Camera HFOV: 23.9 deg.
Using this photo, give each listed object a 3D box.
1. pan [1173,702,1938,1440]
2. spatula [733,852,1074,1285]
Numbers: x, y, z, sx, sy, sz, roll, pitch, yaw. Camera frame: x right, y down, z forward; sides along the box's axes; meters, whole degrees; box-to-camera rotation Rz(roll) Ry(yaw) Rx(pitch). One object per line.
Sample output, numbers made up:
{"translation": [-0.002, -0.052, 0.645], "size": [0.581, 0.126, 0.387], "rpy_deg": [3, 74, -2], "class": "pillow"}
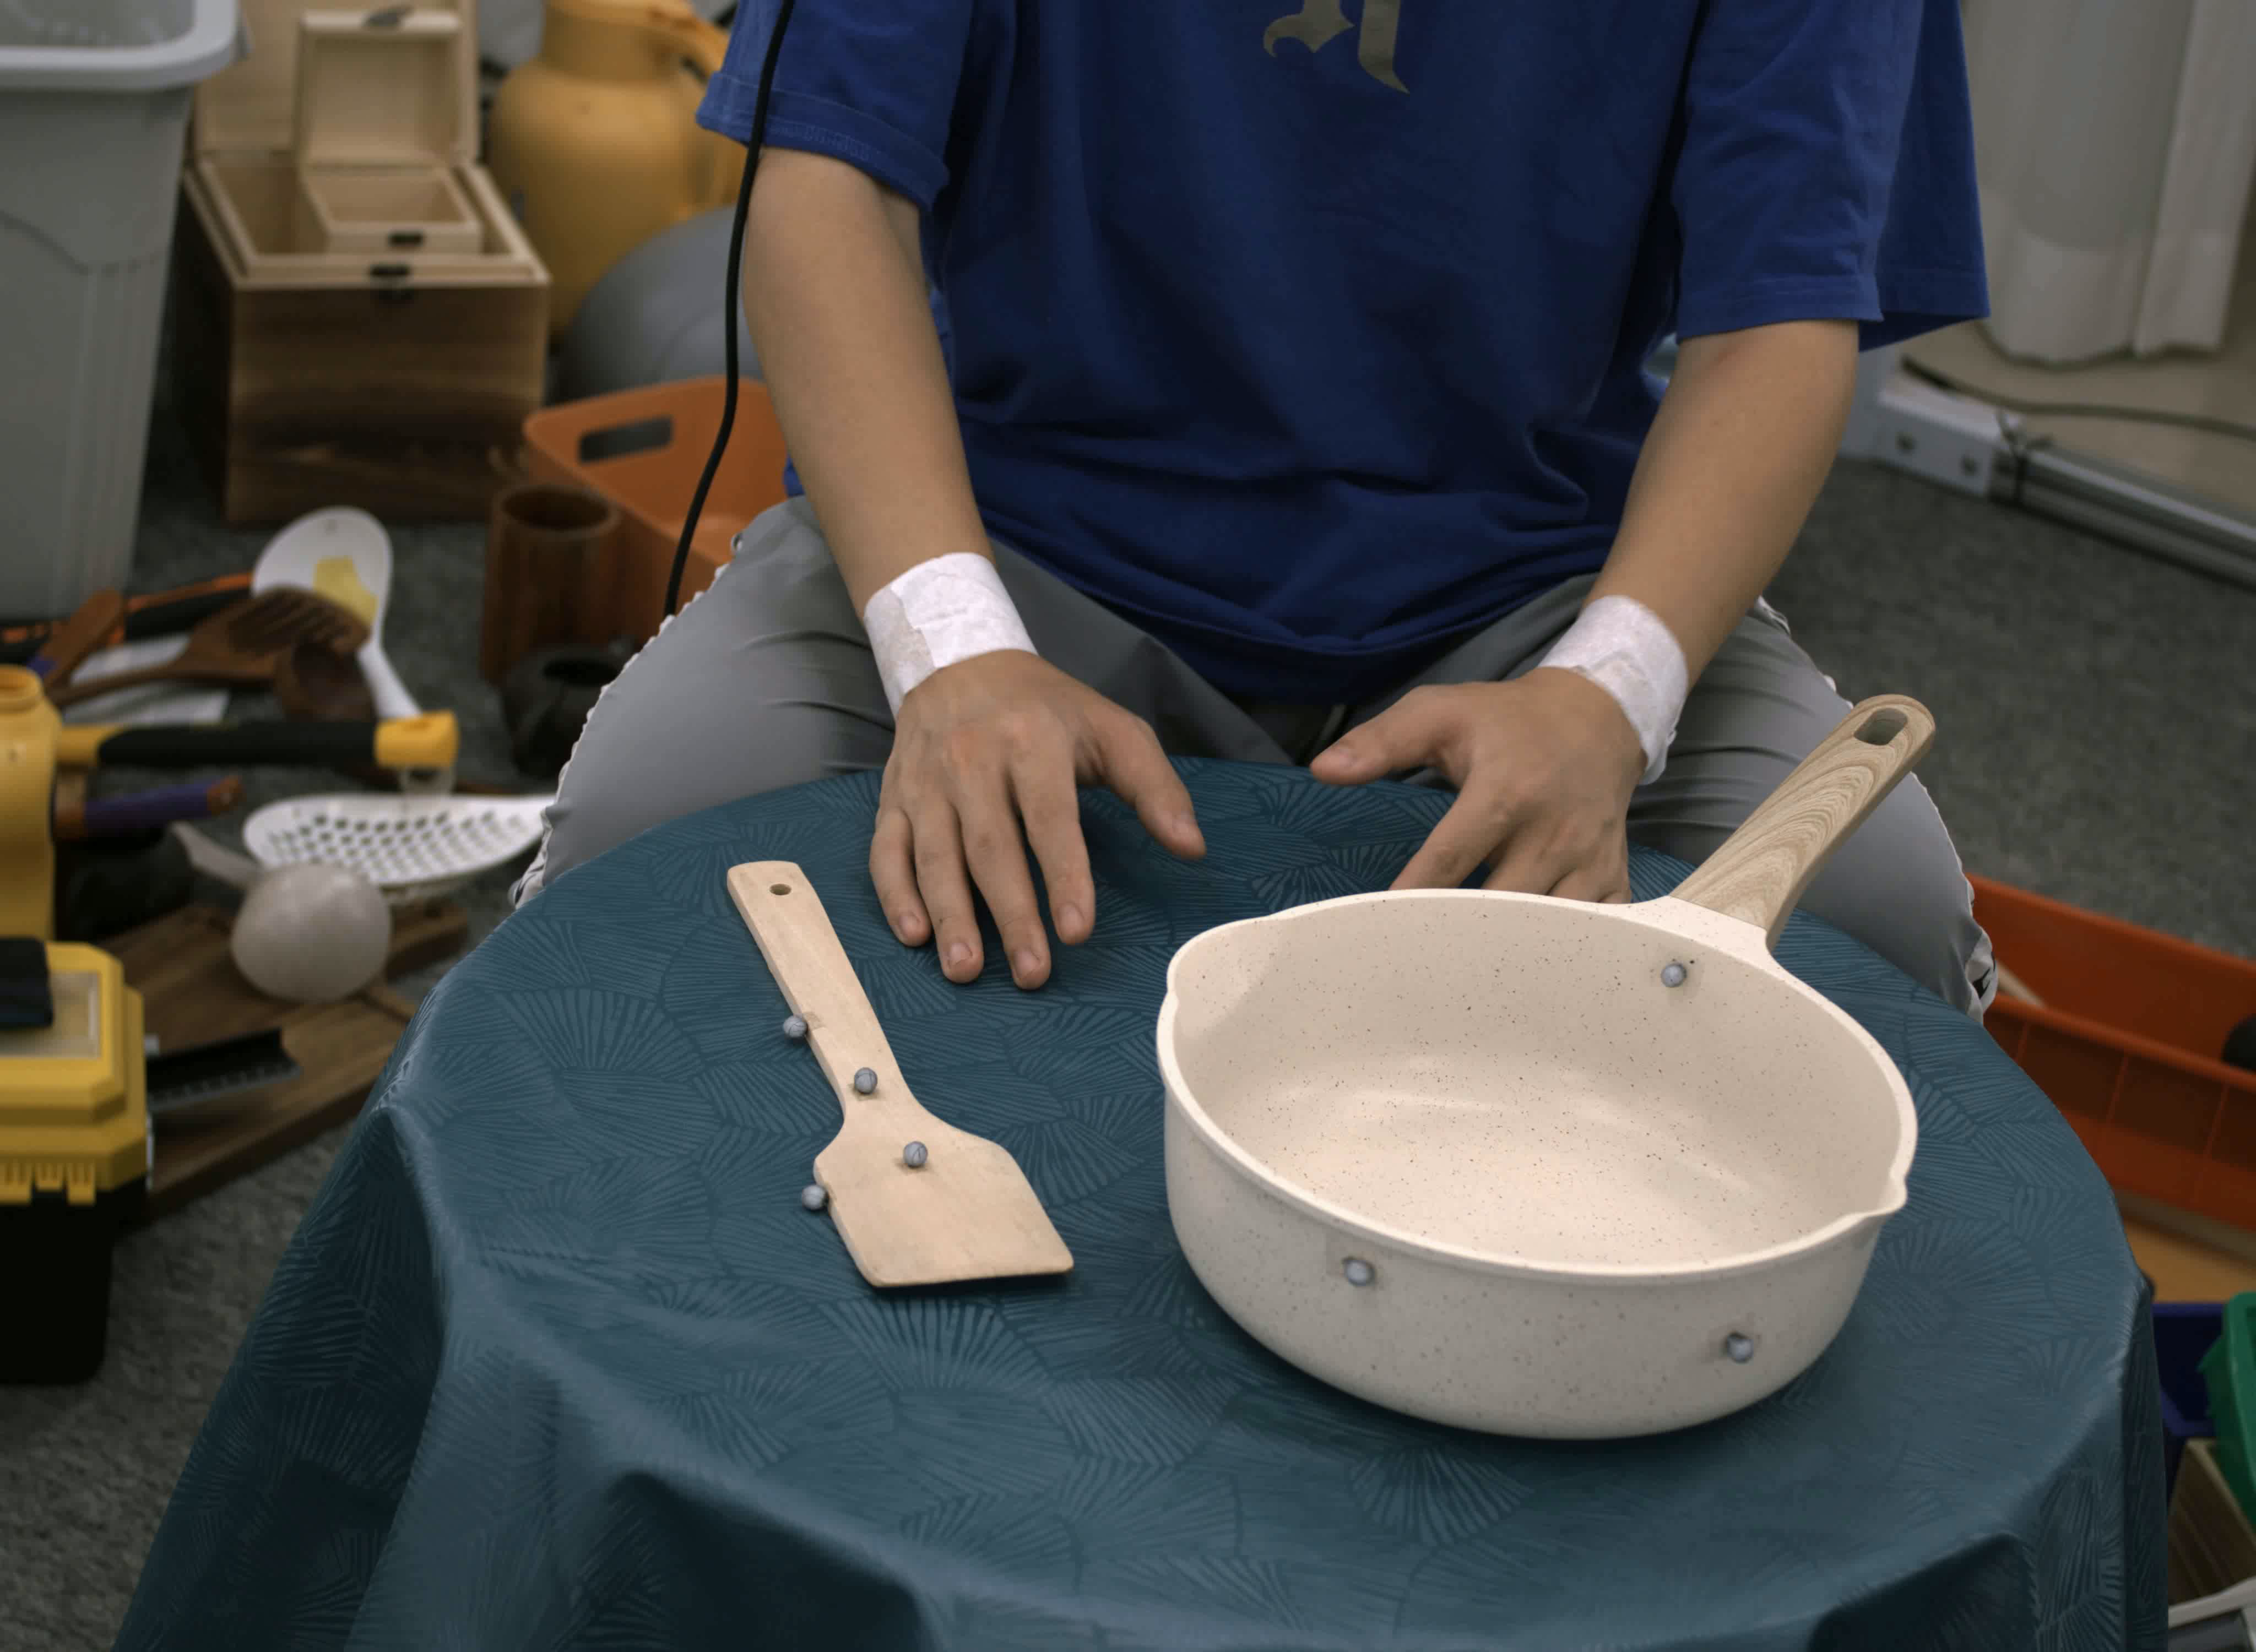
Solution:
{"translation": [0.179, 0.077, 1.826], "size": [0.264, 0.101, 0.434], "rpy_deg": [17, 28, 24], "class": "pan"}
{"translation": [-0.093, 0.081, 1.856], "size": [0.072, 0.010, 0.295], "rpy_deg": [-4, 29, -17], "class": "spatula"}
